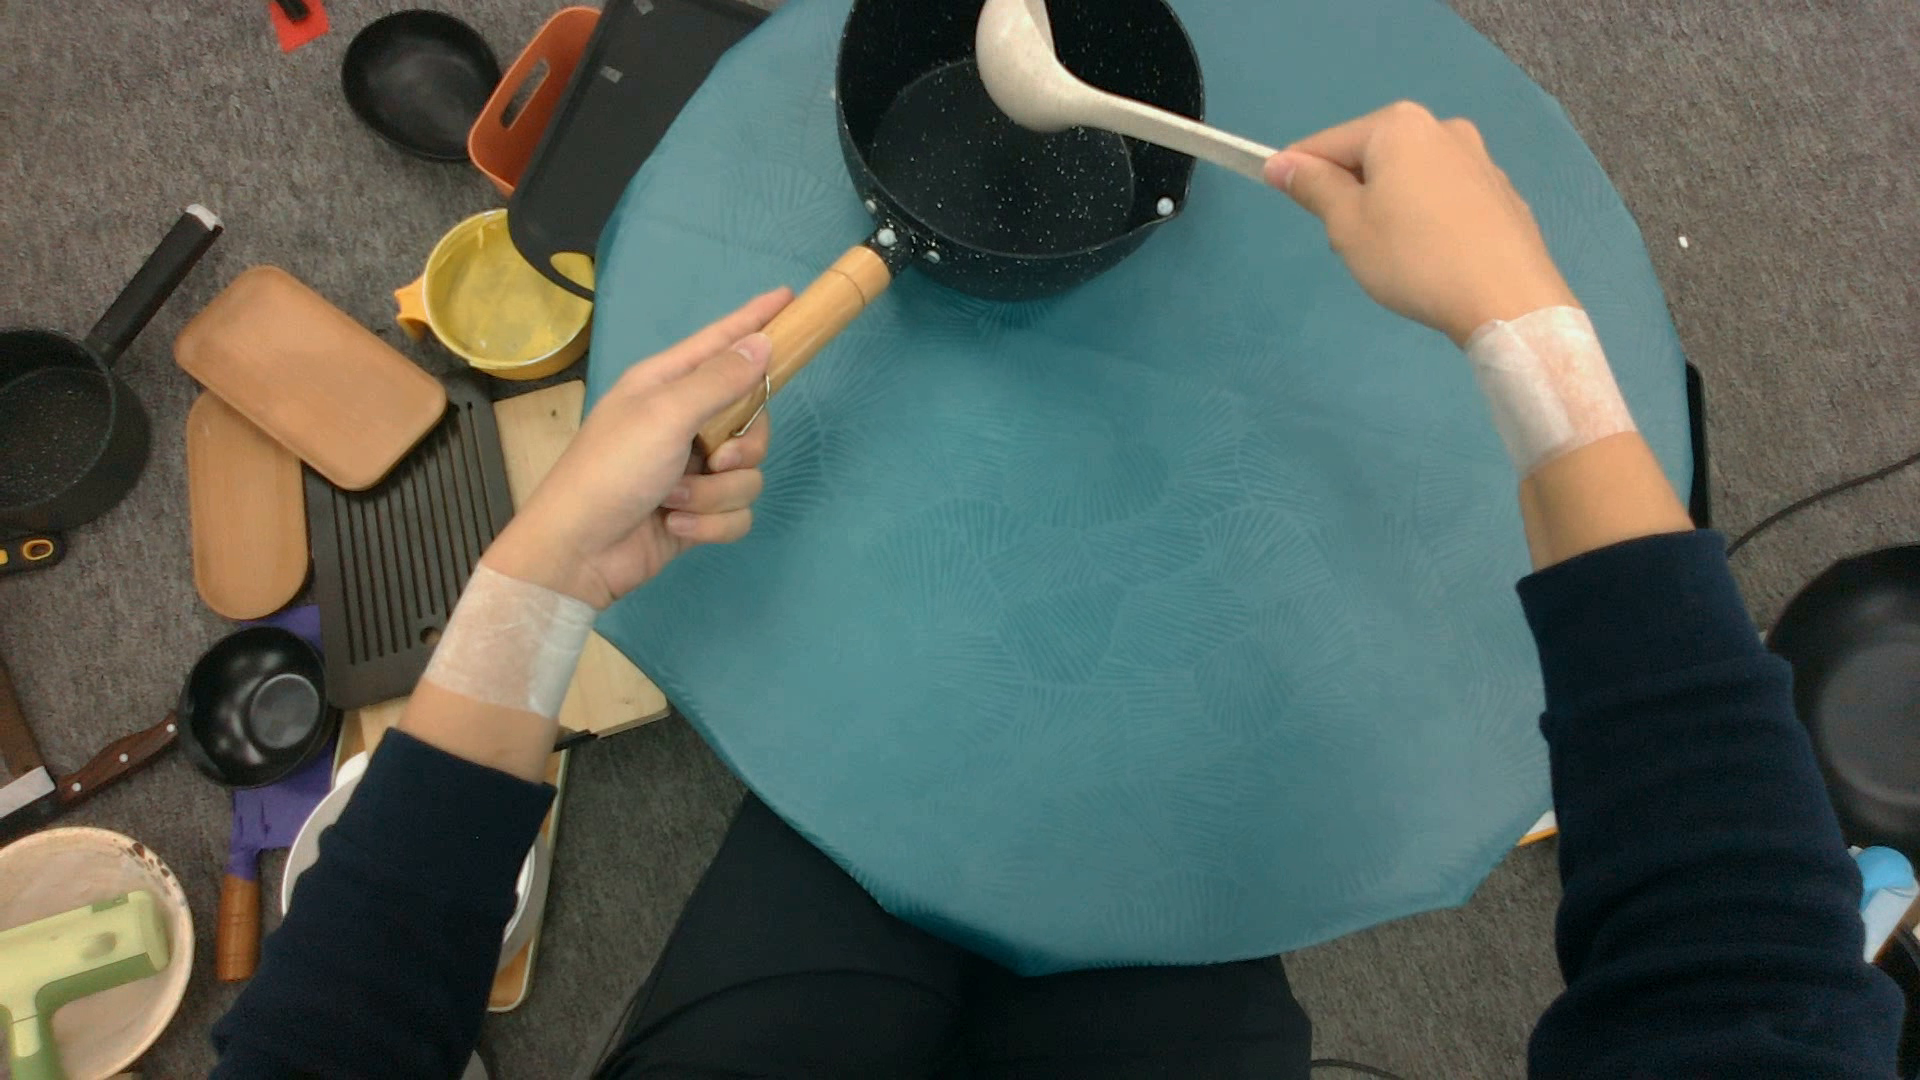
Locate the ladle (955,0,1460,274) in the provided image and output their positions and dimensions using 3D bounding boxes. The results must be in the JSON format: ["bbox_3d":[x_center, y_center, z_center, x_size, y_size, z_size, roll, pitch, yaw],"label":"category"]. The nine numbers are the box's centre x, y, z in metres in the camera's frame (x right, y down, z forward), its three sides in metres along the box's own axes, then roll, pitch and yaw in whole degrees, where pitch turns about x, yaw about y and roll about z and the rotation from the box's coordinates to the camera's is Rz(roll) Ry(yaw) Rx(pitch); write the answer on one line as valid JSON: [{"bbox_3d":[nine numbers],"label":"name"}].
[{"bbox_3d":[0.113,-0.198,0.630,0.275,0.089,0.069,29,69,24],"label":"ladle"}]

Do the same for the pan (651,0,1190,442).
[{"bbox_3d":[-0.026,-0.161,0.687,0.207,0.108,0.344,37,72,4],"label":"pan"}]
